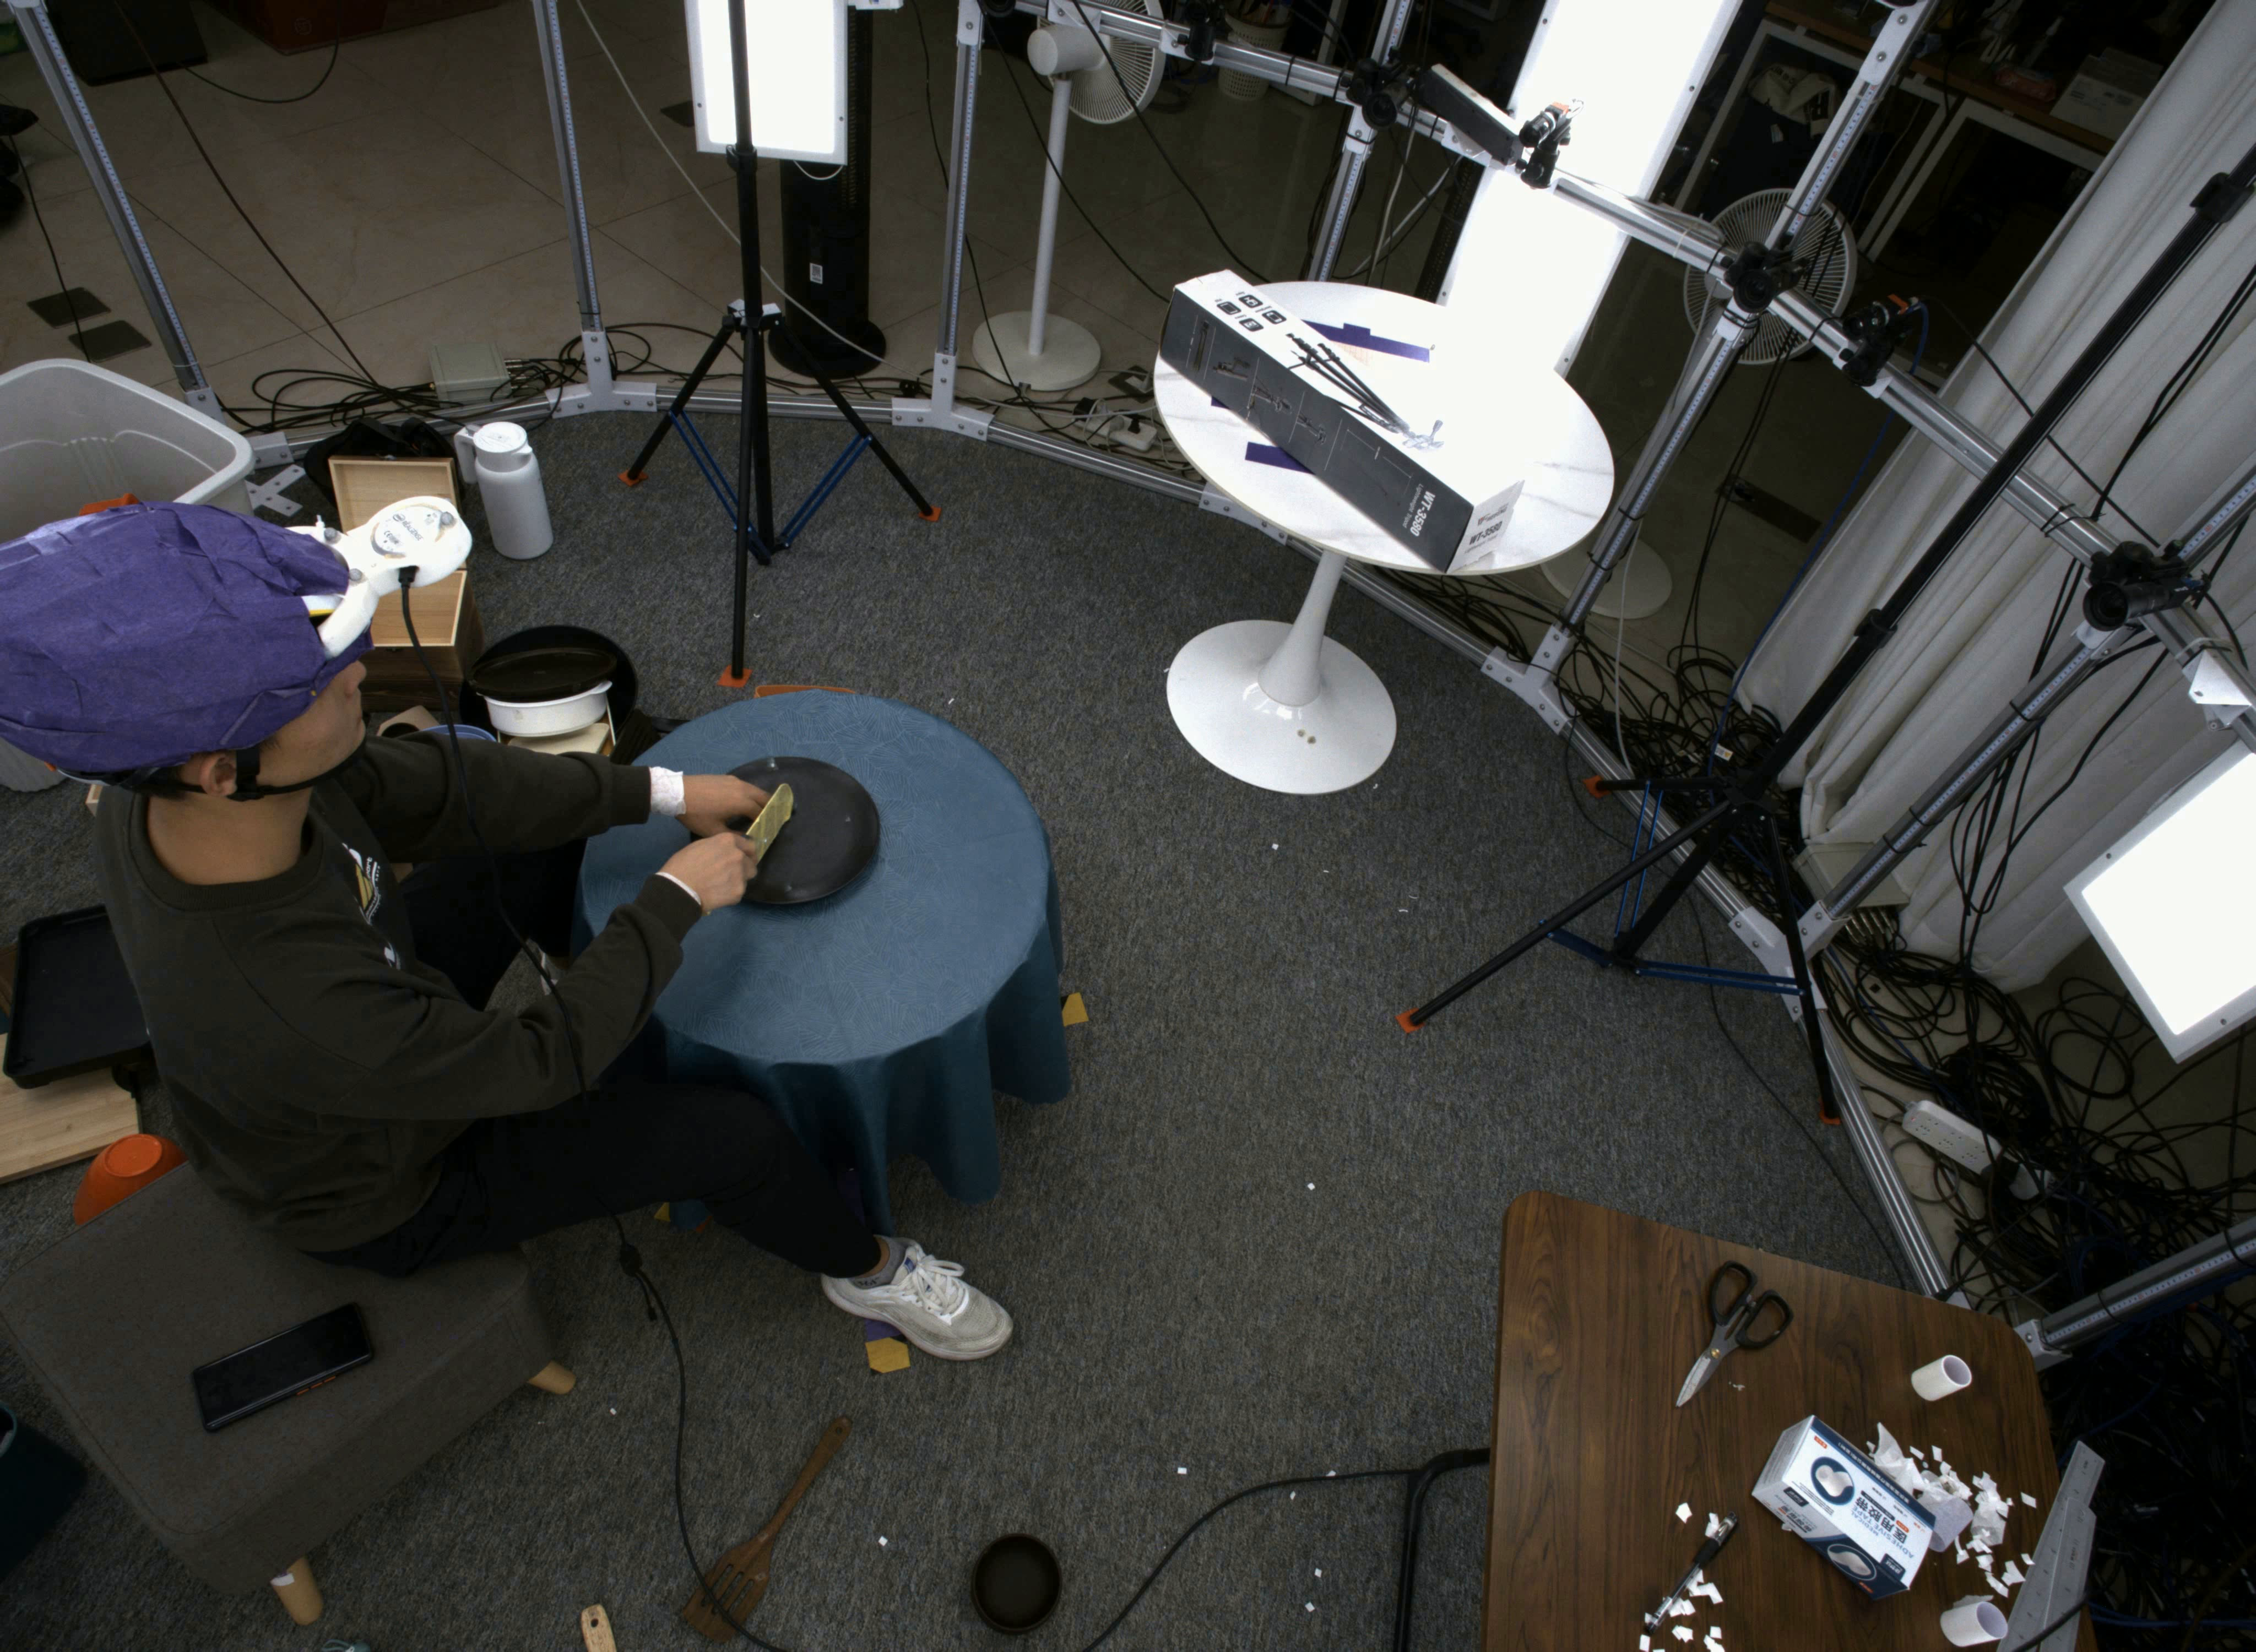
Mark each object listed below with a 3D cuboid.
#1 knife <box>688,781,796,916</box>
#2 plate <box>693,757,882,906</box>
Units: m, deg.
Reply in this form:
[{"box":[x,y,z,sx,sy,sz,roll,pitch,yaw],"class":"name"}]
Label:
[{"box":[-0.471,0.030,1.606,0.027,0.083,0.286,12,33,6],"class":"knife"},{"box":[-0.448,0.007,1.709,0.244,0.024,0.240,8,52,-9],"class":"plate"}]
